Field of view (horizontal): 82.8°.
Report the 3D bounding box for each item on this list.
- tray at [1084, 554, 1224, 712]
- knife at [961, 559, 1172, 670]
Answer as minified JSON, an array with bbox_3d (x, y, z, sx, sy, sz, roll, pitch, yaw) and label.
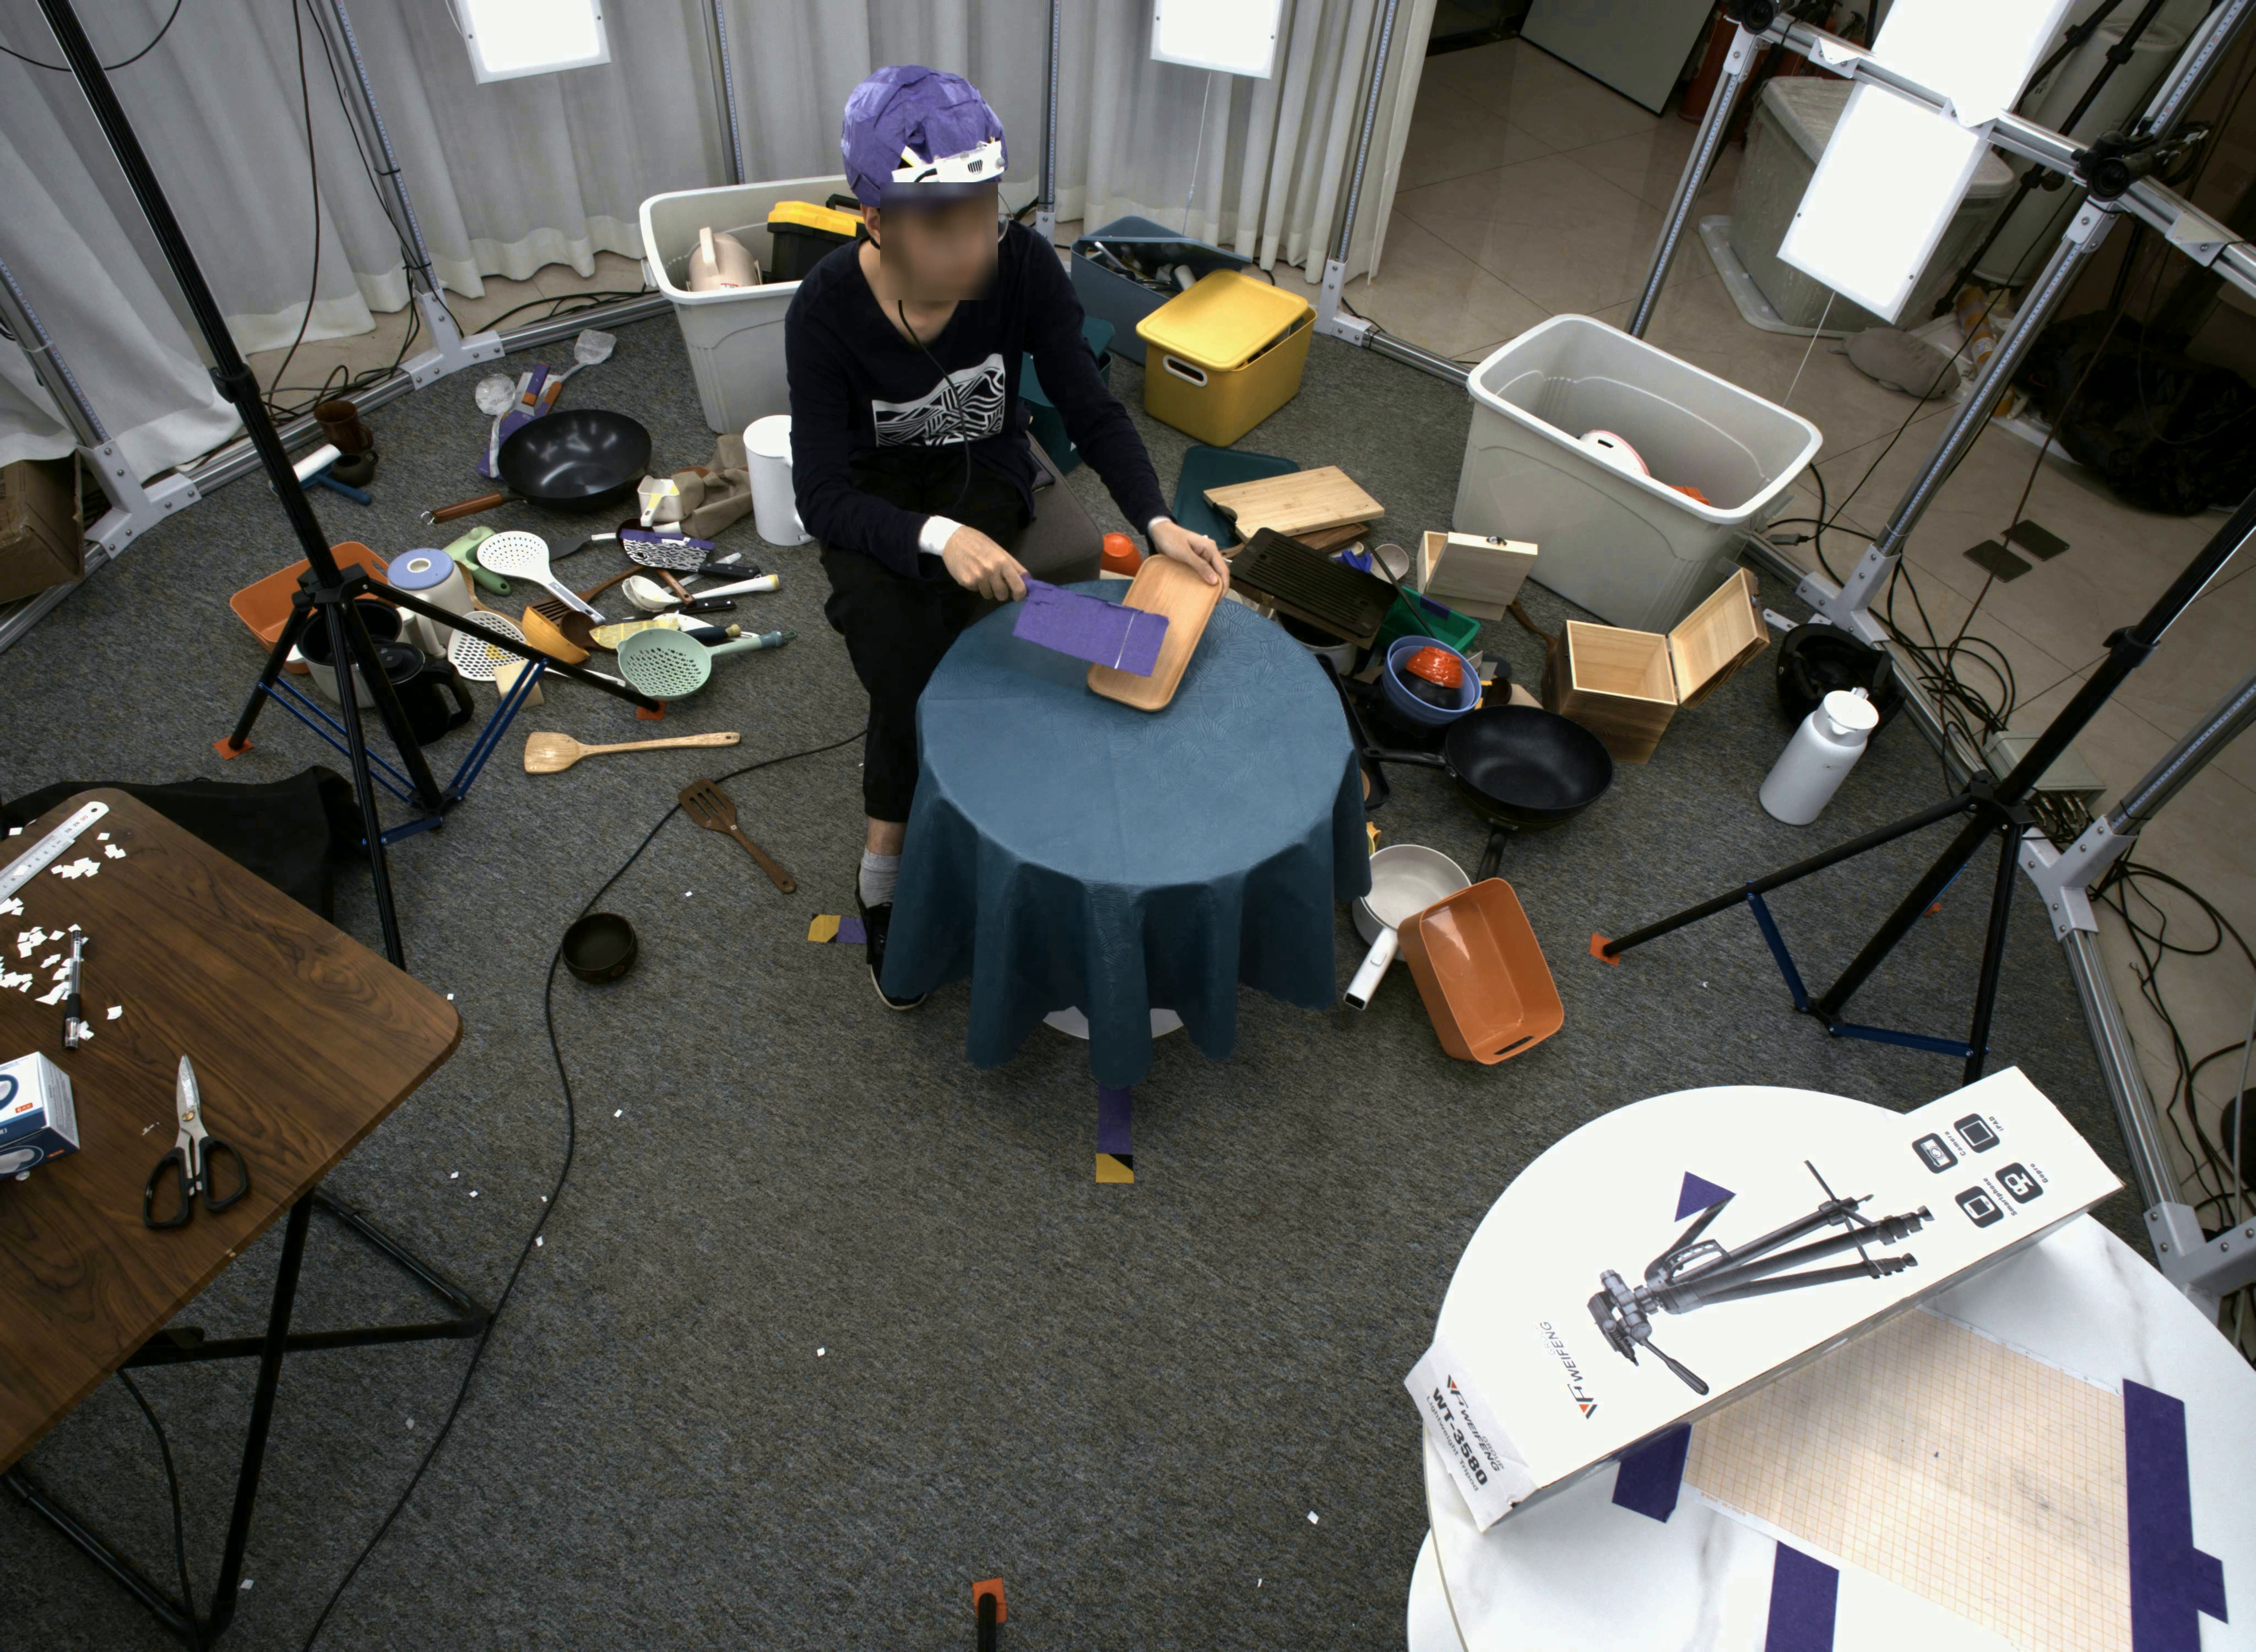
[{"bbox_3d":[0.039,-0.281,1.859,0.131,0.022,0.254,21,69,16],"label":"tray"},{"bbox_3d":[-0.100,-0.296,1.800,0.317,0.031,0.105,18,73,14],"label":"knife"}]
